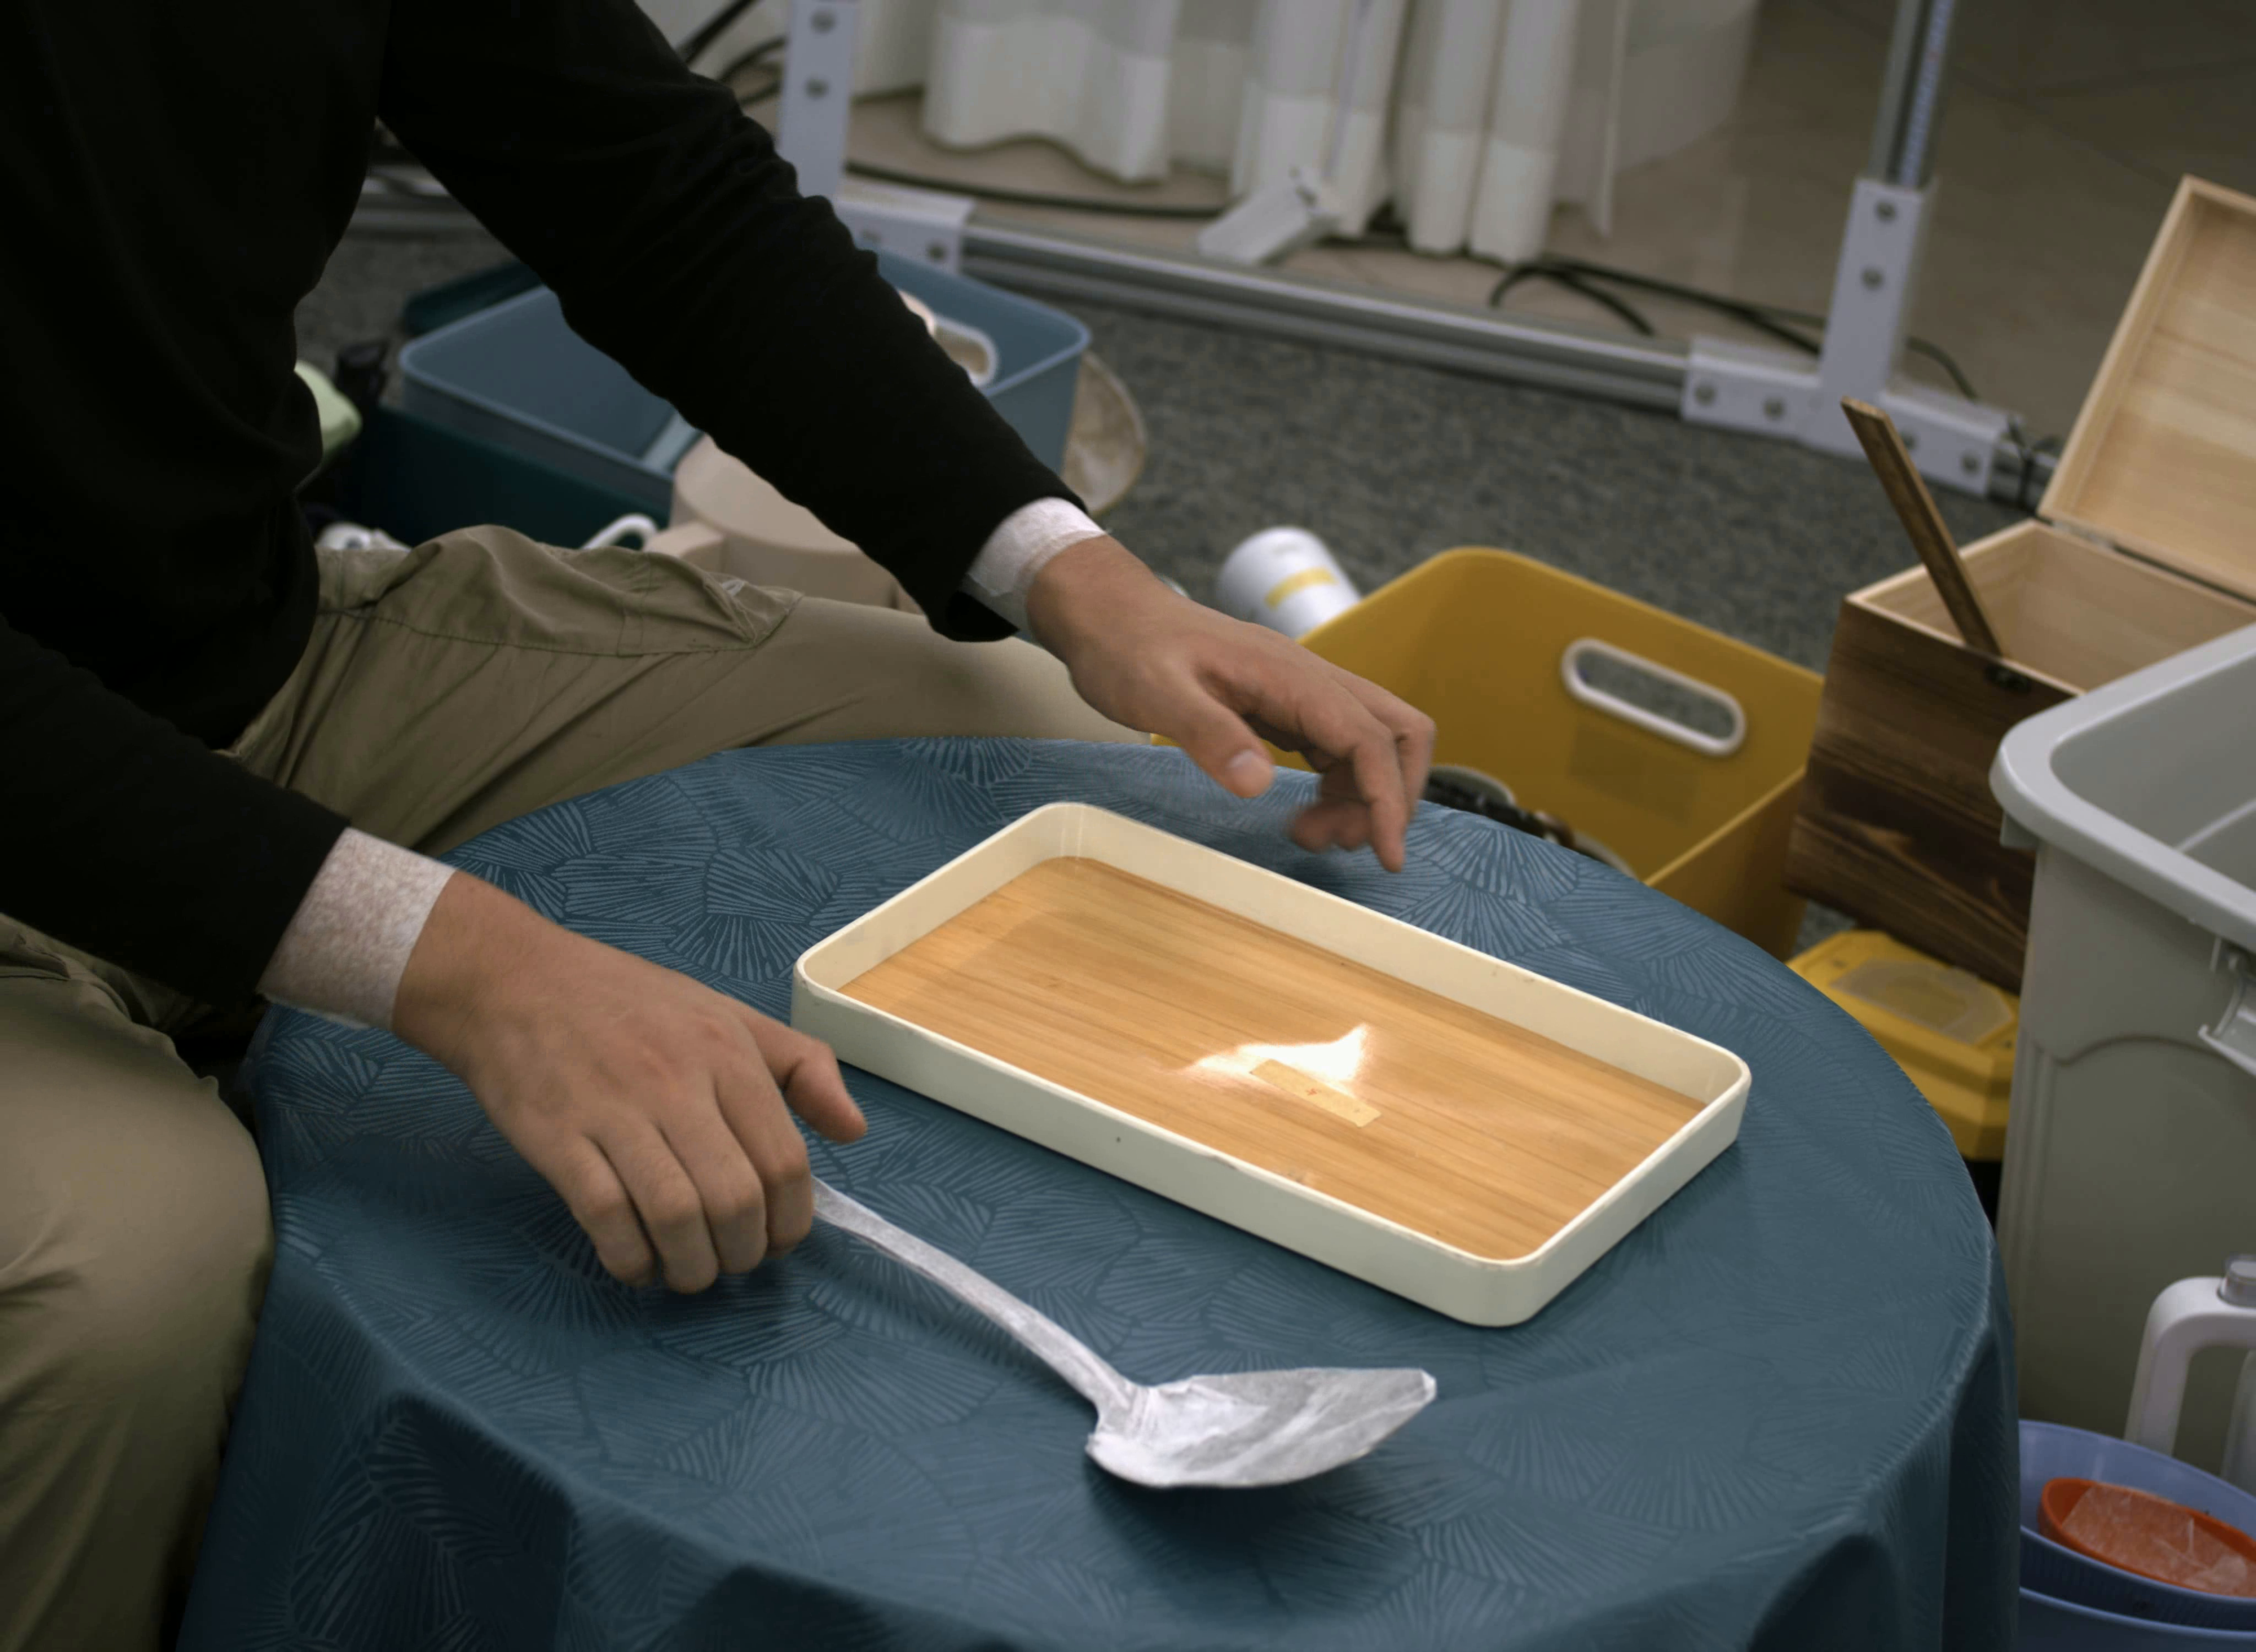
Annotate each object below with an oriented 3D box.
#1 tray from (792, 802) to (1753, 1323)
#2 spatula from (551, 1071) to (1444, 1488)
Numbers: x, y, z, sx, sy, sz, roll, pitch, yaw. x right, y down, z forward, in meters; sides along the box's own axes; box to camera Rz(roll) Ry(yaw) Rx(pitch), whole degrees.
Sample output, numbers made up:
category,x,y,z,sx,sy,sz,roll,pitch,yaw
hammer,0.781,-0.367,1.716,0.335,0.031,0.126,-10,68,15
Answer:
category,x,y,z,sx,sy,sz,roll,pitch,yaw
tray,0.050,0.078,1.872,0.302,0.027,0.191,21,30,27
spatula,-0.062,0.138,1.718,0.367,0.044,0.098,26,33,33
